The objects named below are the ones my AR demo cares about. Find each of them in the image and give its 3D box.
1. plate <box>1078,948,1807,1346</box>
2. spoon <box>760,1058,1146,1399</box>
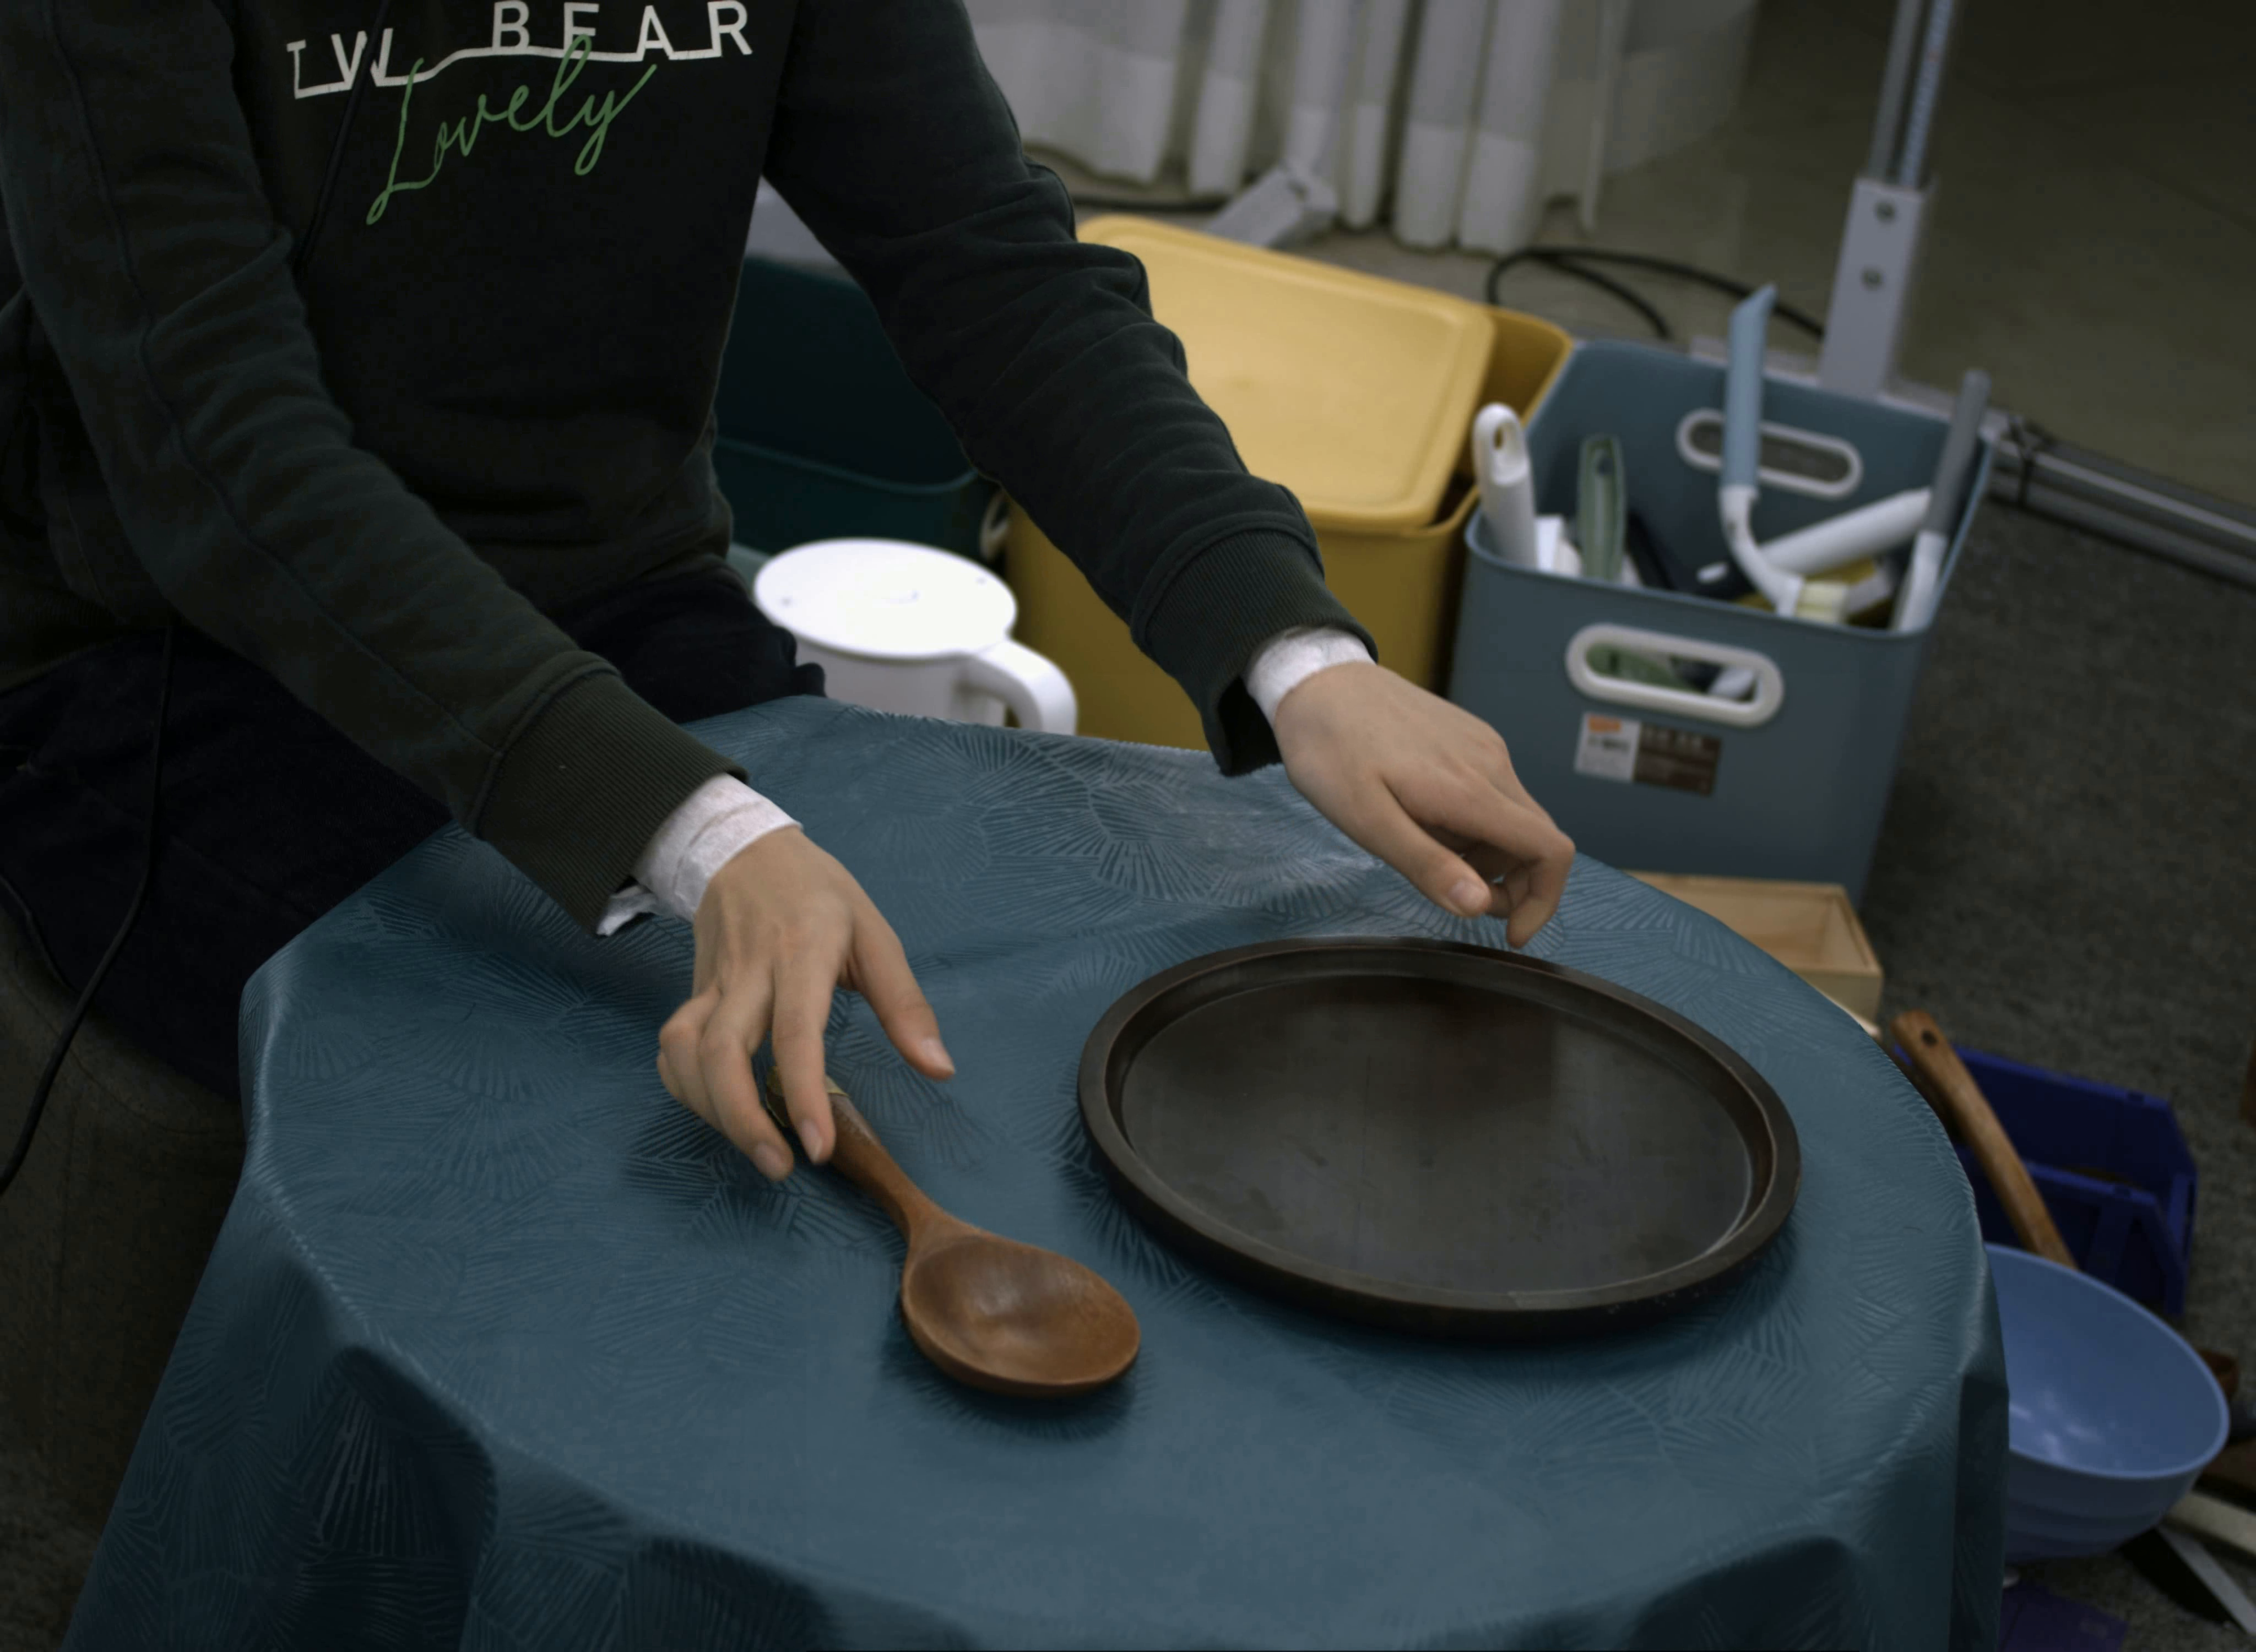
[{"bbox_3d":[0.107,0.108,1.832,0.254,0.029,0.256,6,27,-4],"label":"plate"},{"bbox_3d":[-0.066,0.133,1.749,0.075,0.017,0.218,-9,31,-29],"label":"spoon"}]
